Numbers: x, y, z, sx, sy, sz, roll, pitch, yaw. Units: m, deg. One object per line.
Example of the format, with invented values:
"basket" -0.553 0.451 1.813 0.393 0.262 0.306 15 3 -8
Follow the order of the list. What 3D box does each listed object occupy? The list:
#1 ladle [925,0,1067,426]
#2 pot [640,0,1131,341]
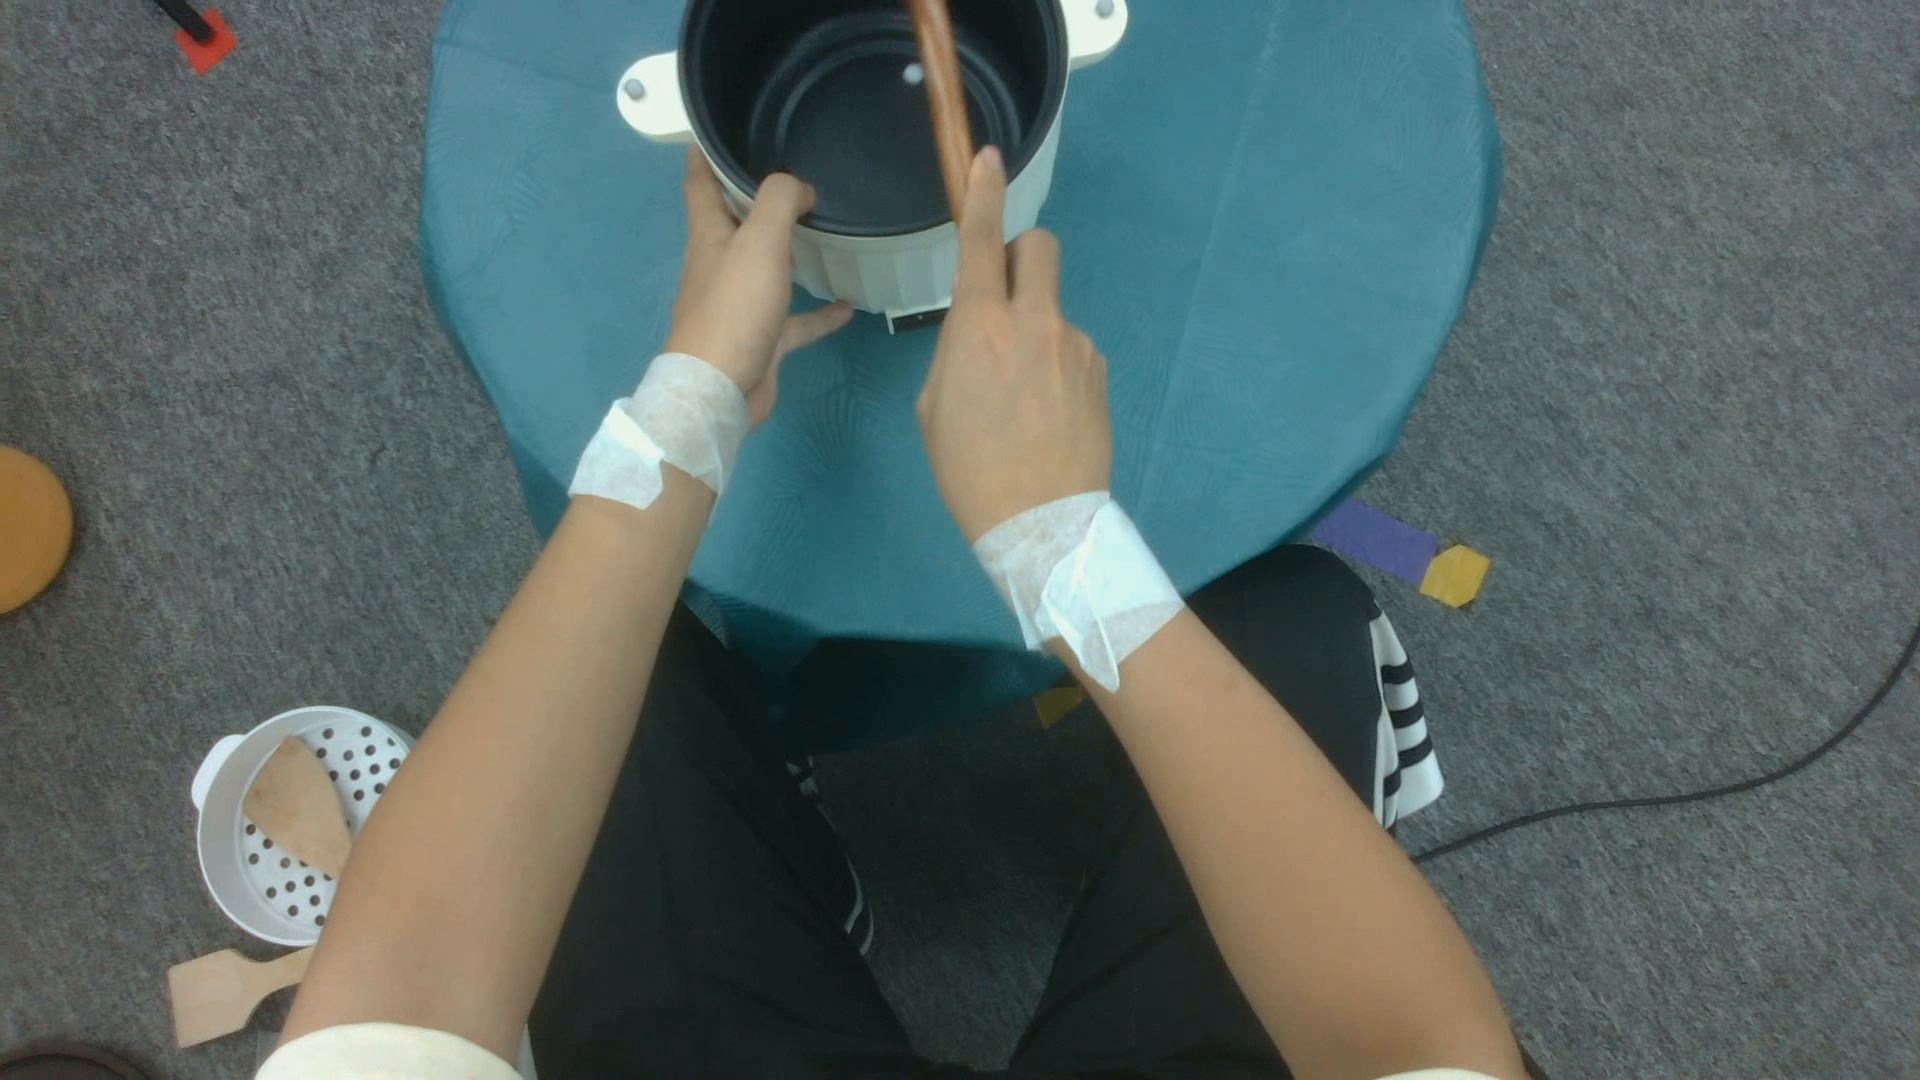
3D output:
"ladle" -0.021 -0.176 0.604 0.076 0.082 0.274 -13 86 6
"pot" -0.036 -0.214 0.720 0.240 0.142 0.191 -12 81 -2
